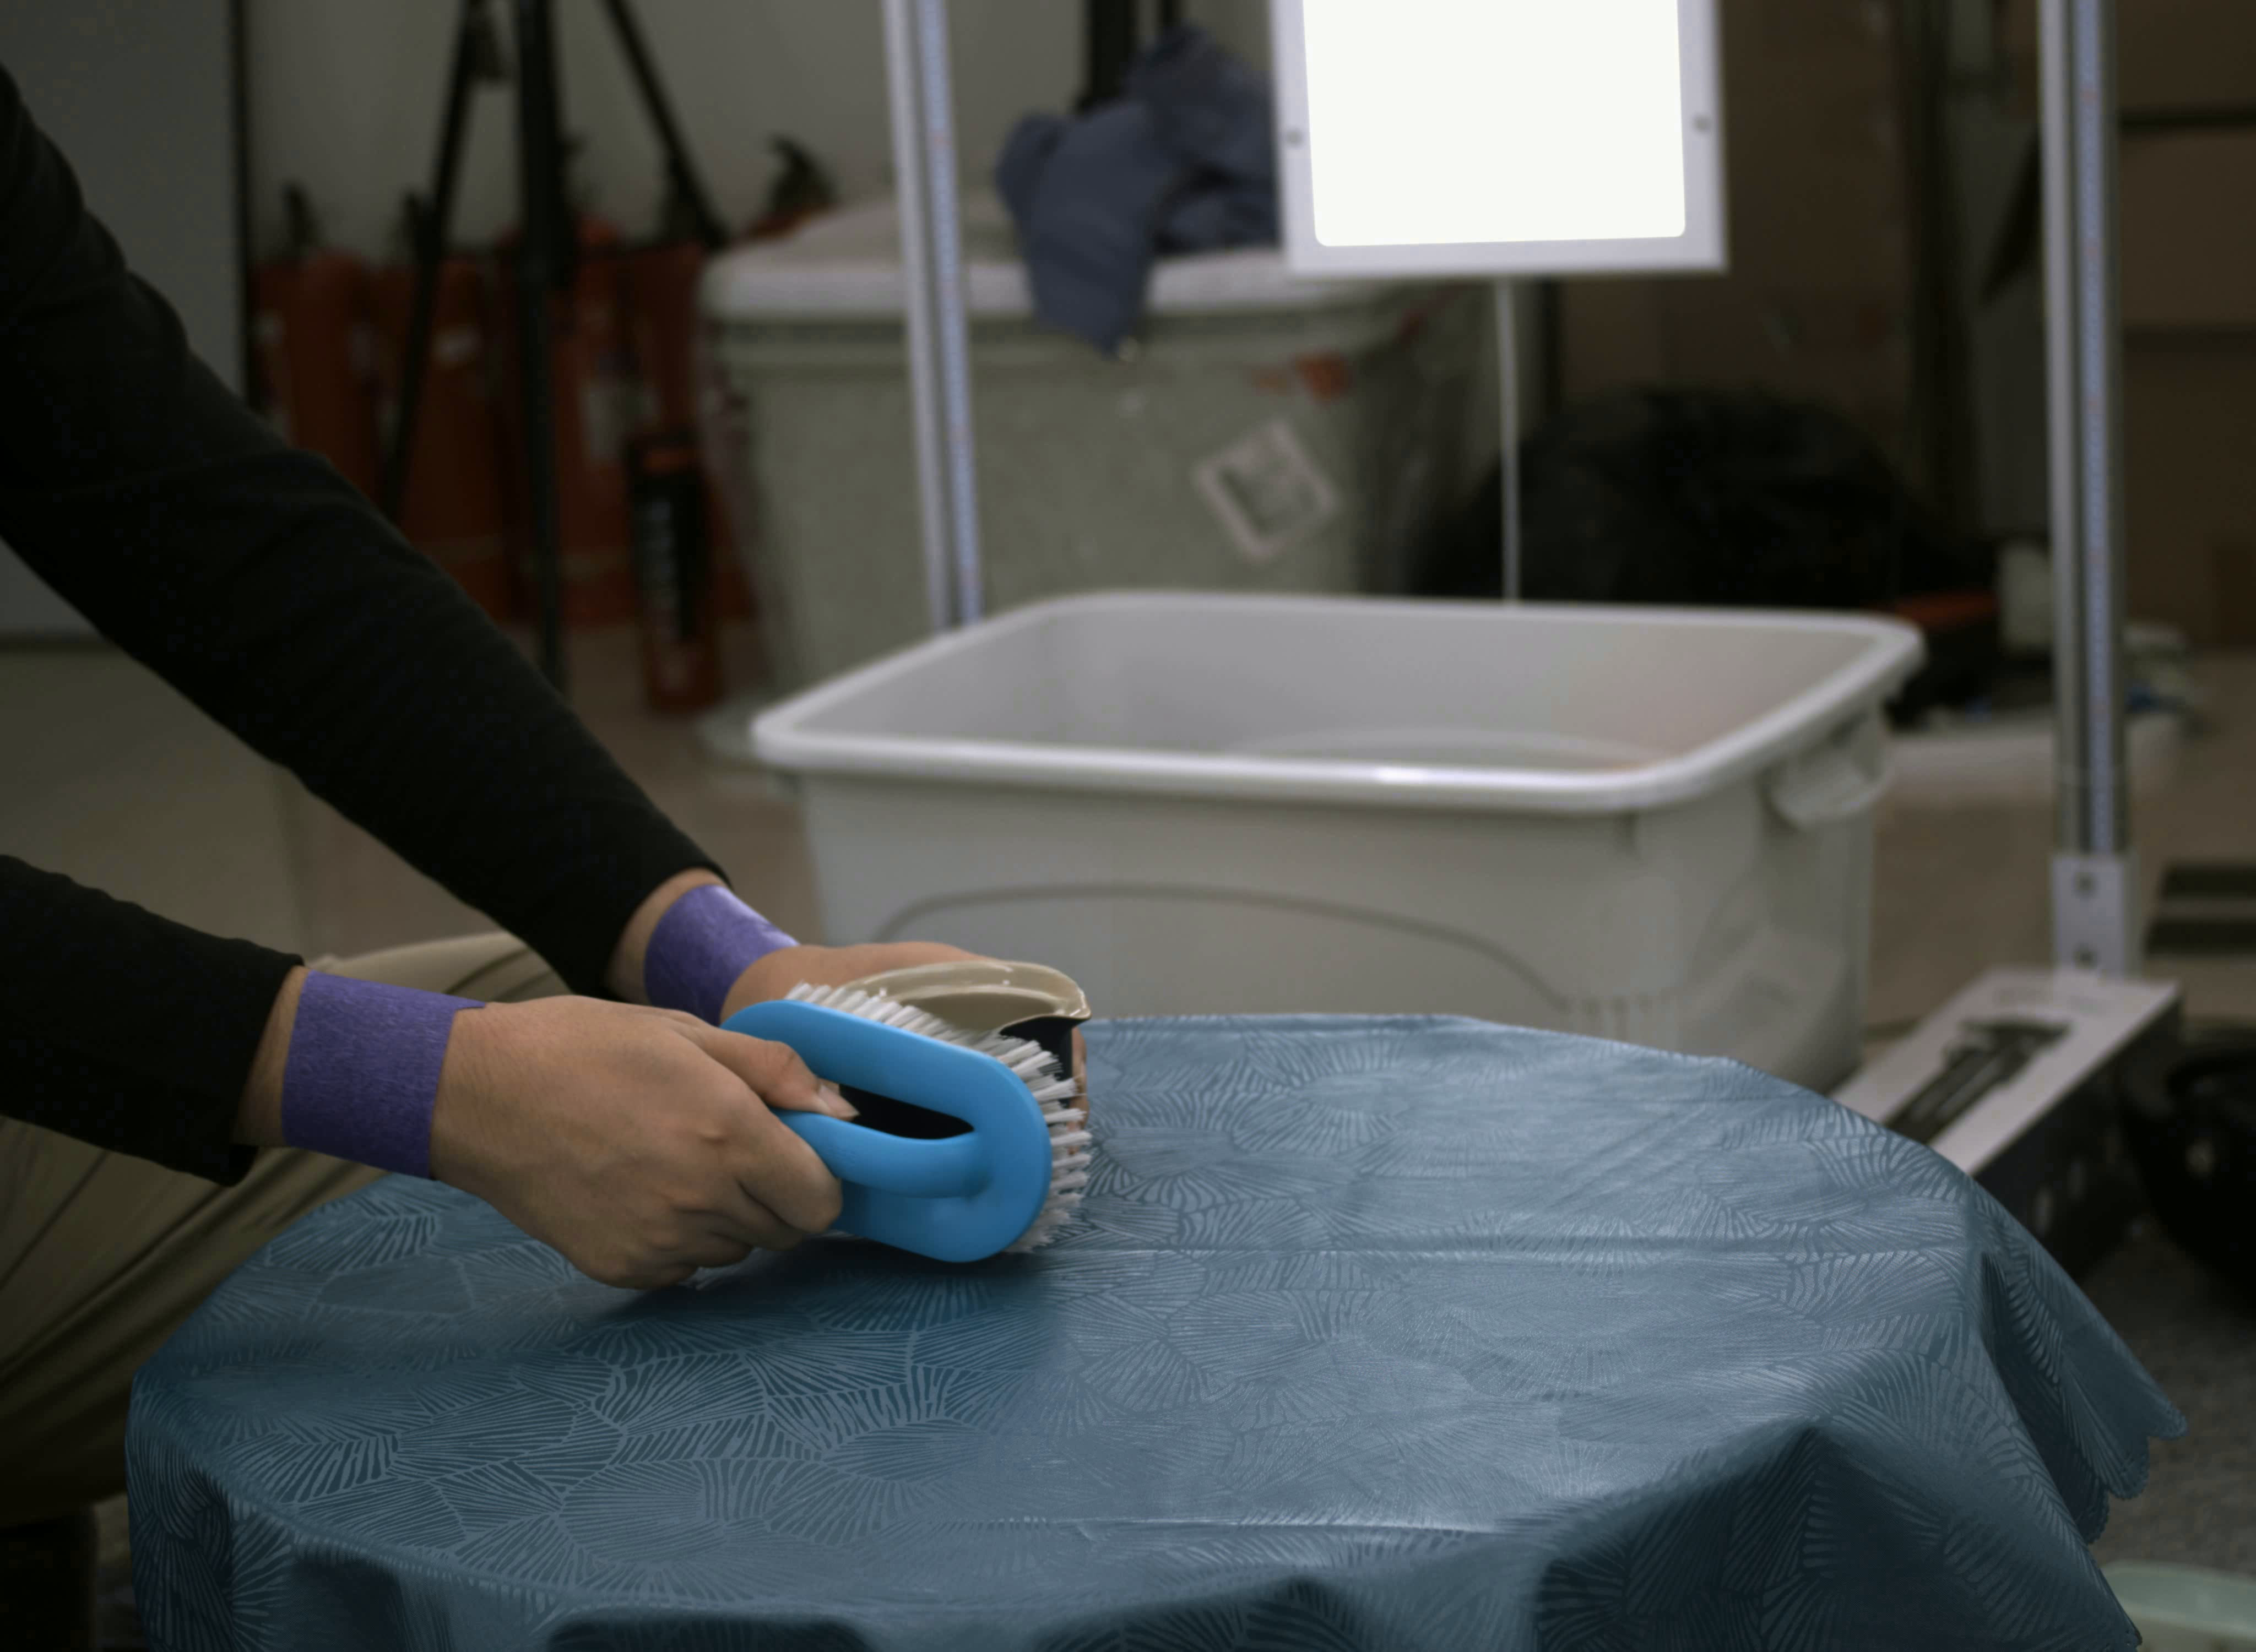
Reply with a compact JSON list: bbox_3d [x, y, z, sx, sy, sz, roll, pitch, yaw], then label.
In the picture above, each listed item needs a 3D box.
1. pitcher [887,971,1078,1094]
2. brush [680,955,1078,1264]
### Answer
[{"bbox_3d":[-0.057,0.090,1.907,0.098,0.071,0.081,7,17,35],"label":"pitcher"},{"bbox_3d":[-0.091,0.097,1.831,0.144,0.085,0.062,17,17,28],"label":"brush"}]
